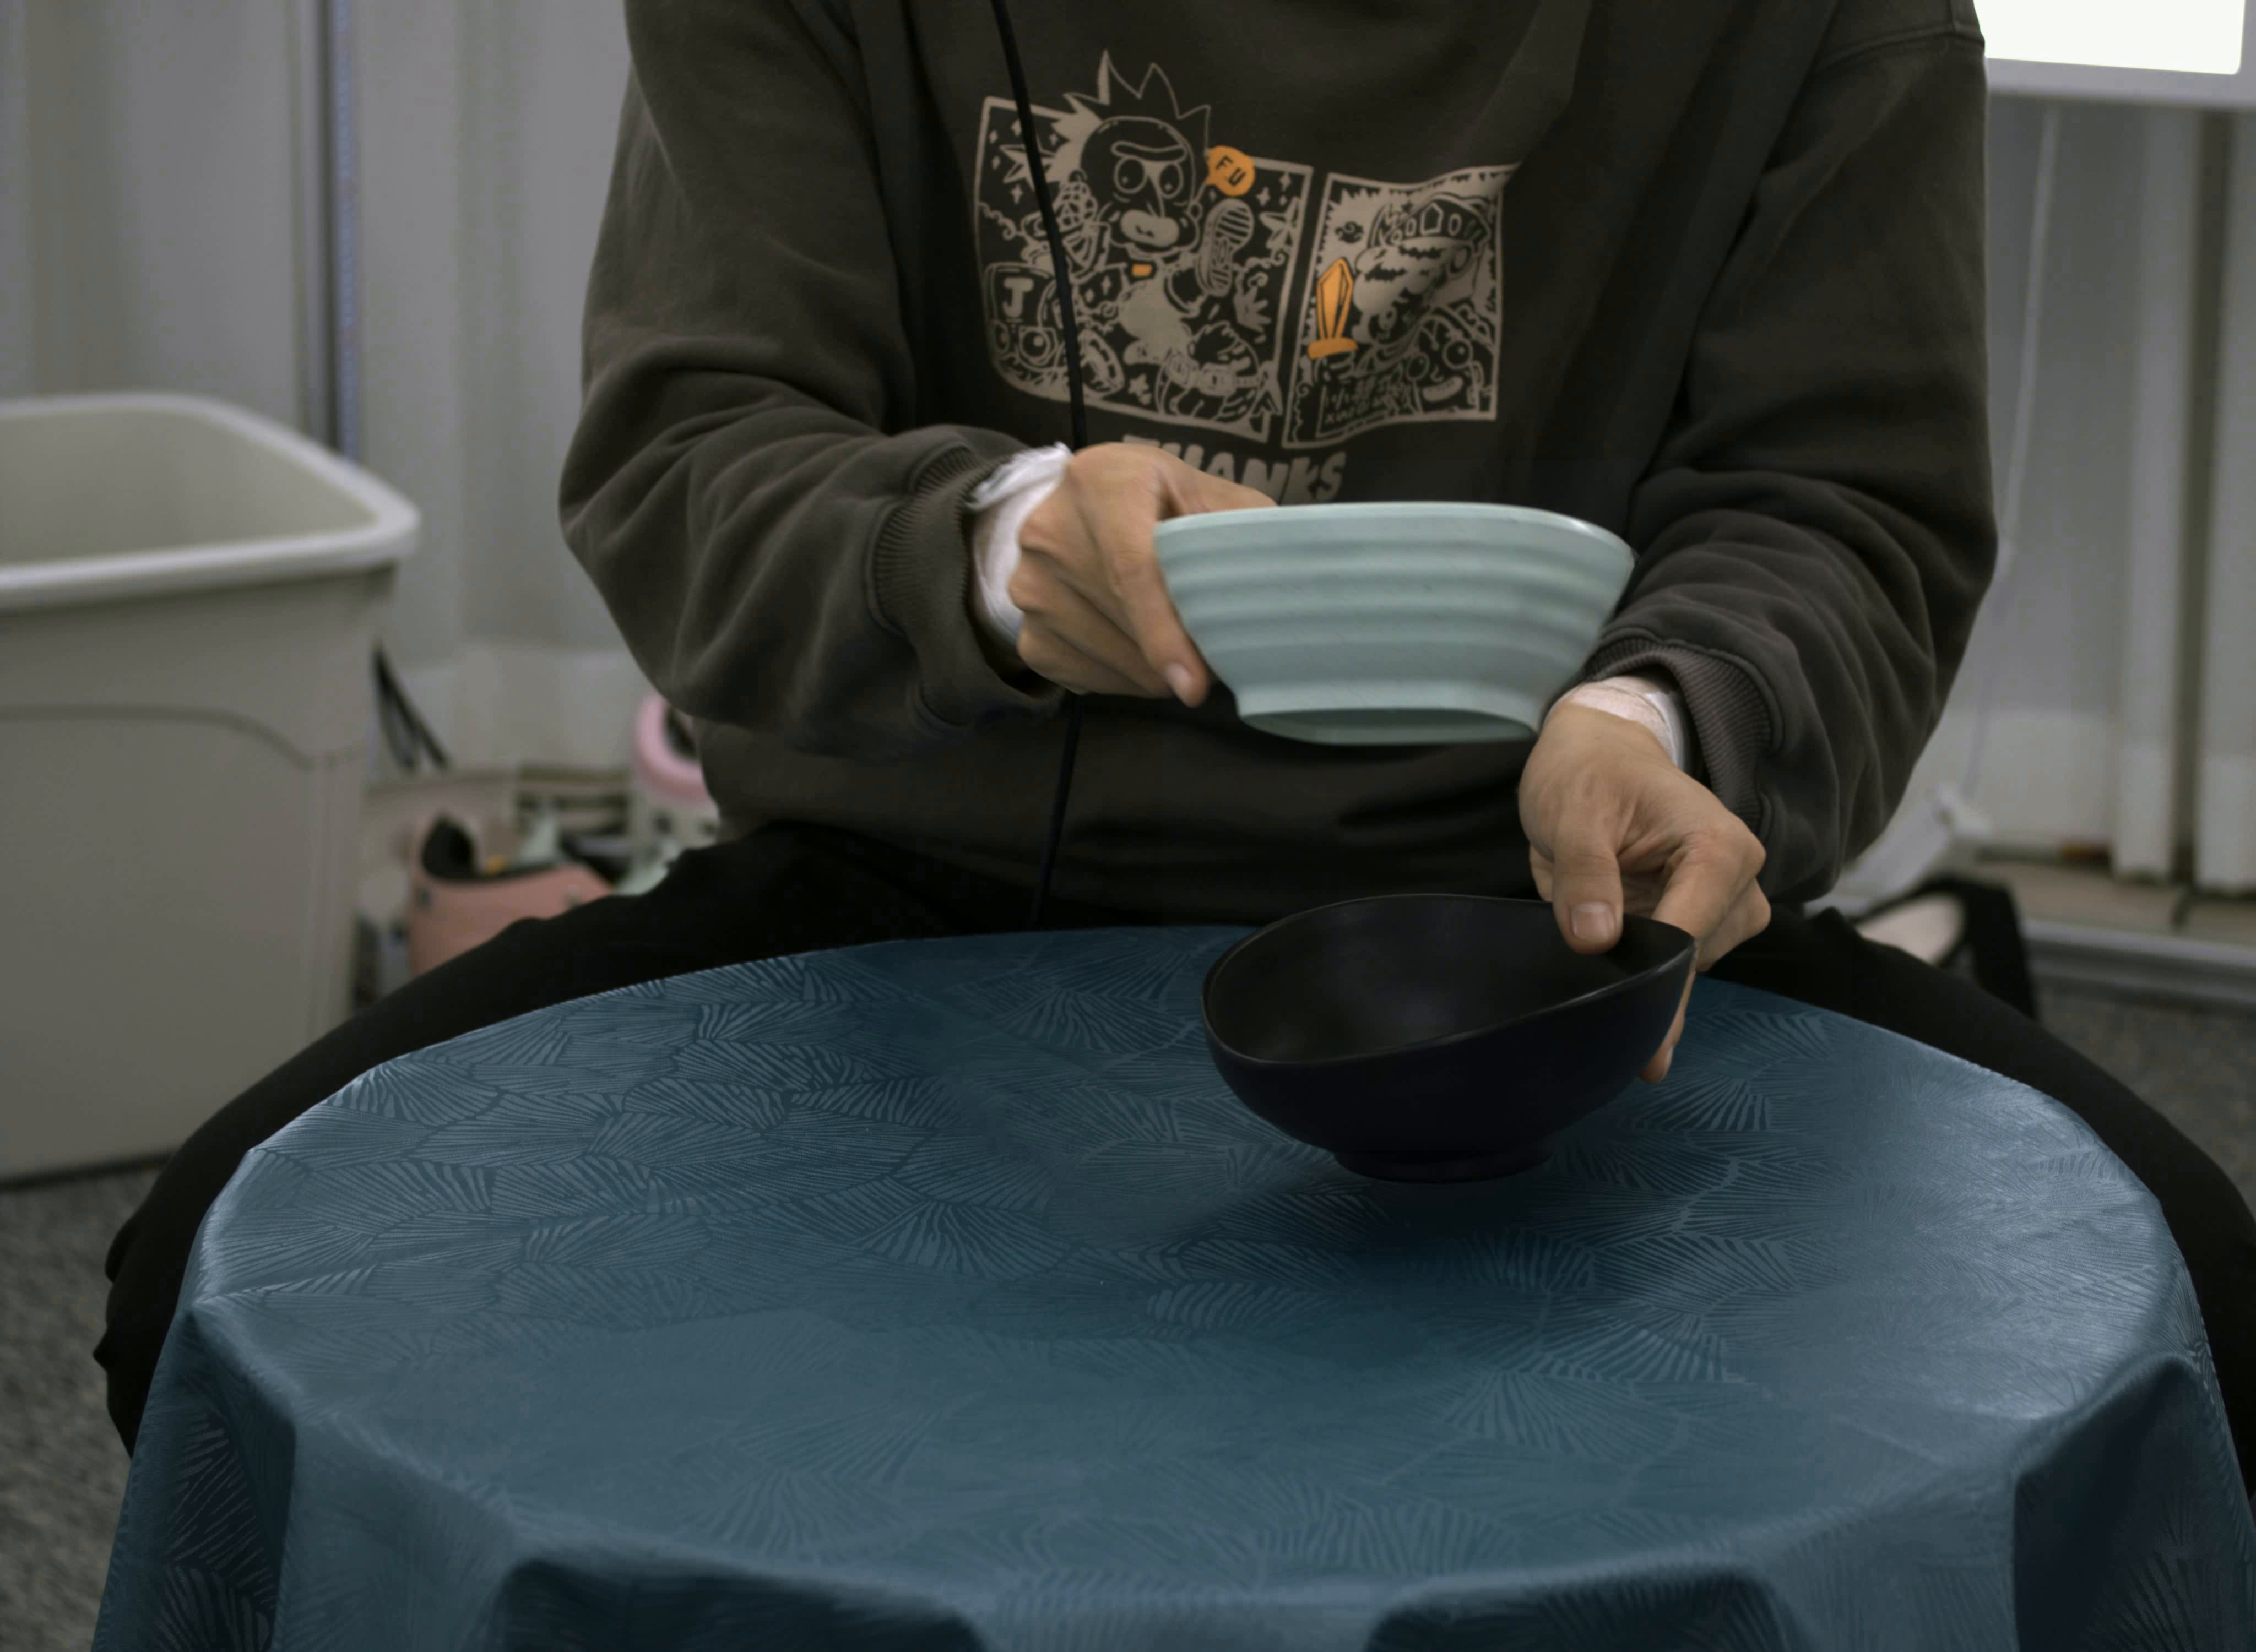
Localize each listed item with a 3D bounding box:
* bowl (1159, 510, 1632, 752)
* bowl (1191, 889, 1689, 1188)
[{"bbox_3d":[0.080,-0.056,1.598,0.151,0.059,0.152,4,-5,1],"label":"bowl"},{"bbox_3d":[0.096,0.069,1.605,0.135,0.067,0.171,10,19,41],"label":"bowl"}]
